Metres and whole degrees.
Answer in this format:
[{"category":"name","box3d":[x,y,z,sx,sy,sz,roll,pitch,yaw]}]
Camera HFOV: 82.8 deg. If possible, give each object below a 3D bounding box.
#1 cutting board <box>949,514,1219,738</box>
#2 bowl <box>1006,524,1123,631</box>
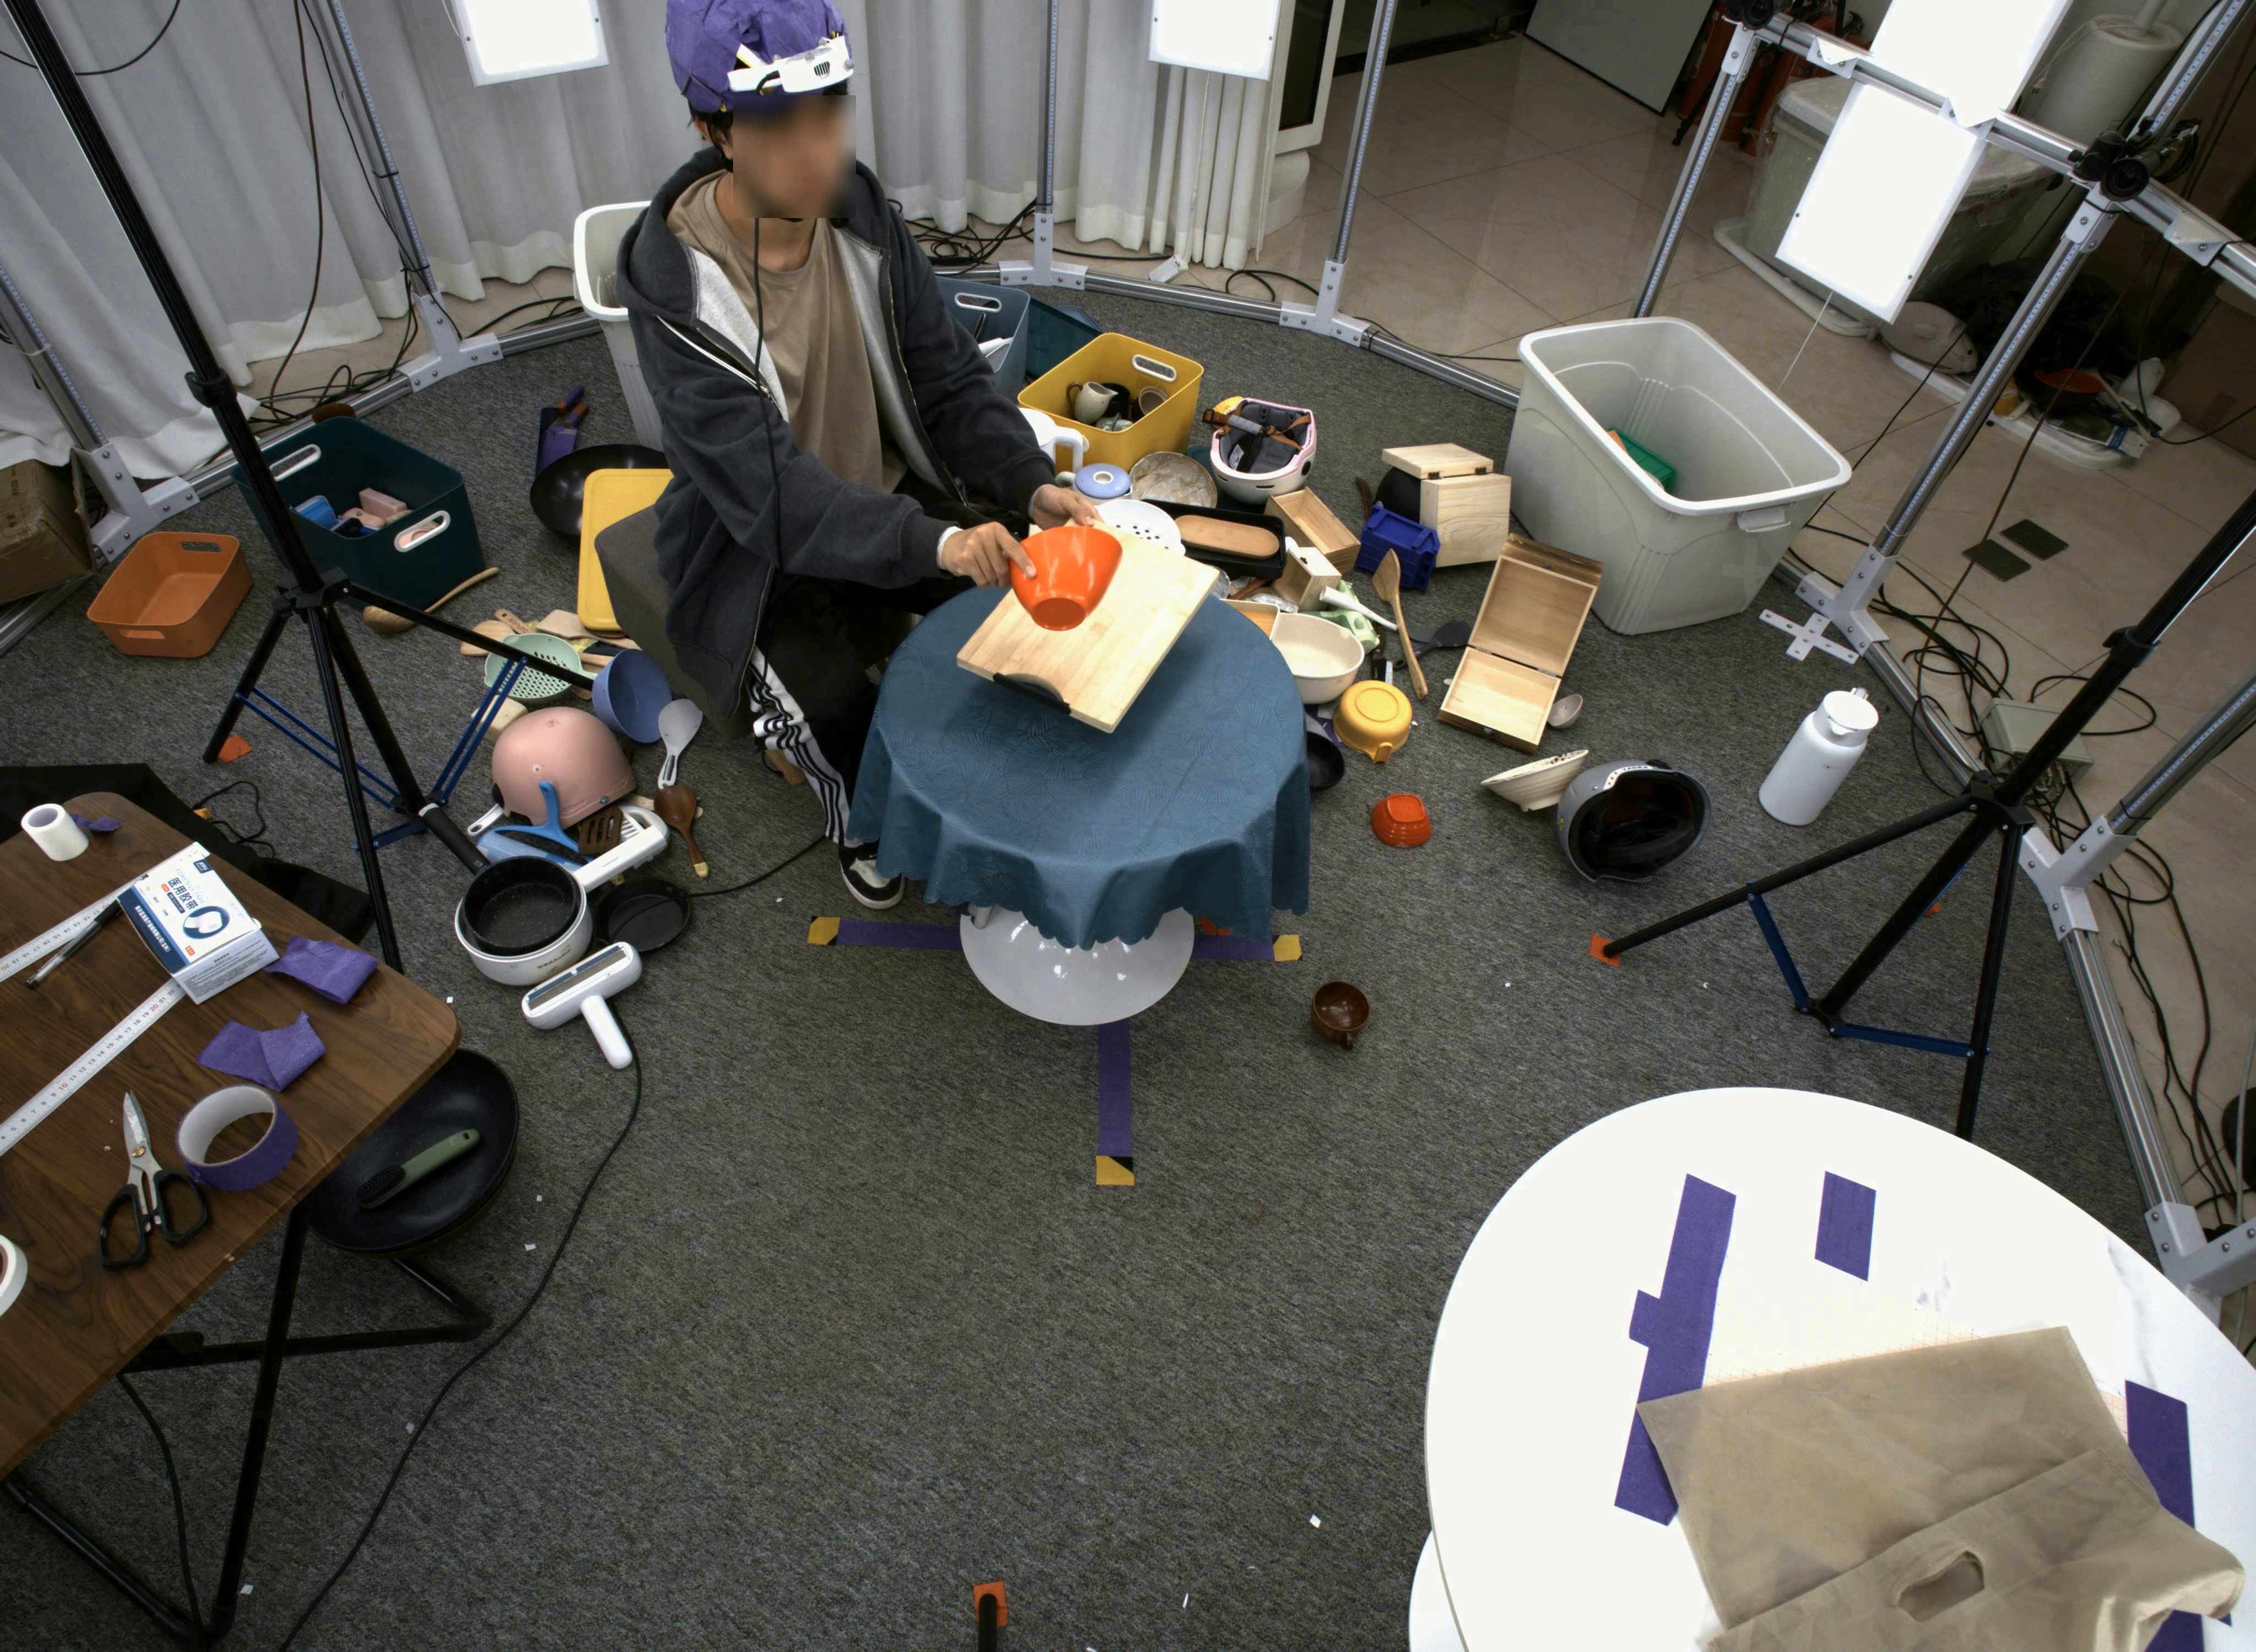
[{"category":"cutting board","box3d":[-0.053,-0.290,1.804,0.252,0.023,0.354,23,55,14]},{"category":"bowl","box3d":[-0.079,-0.299,1.602,0.148,0.145,0.107,2,61,-3]}]
